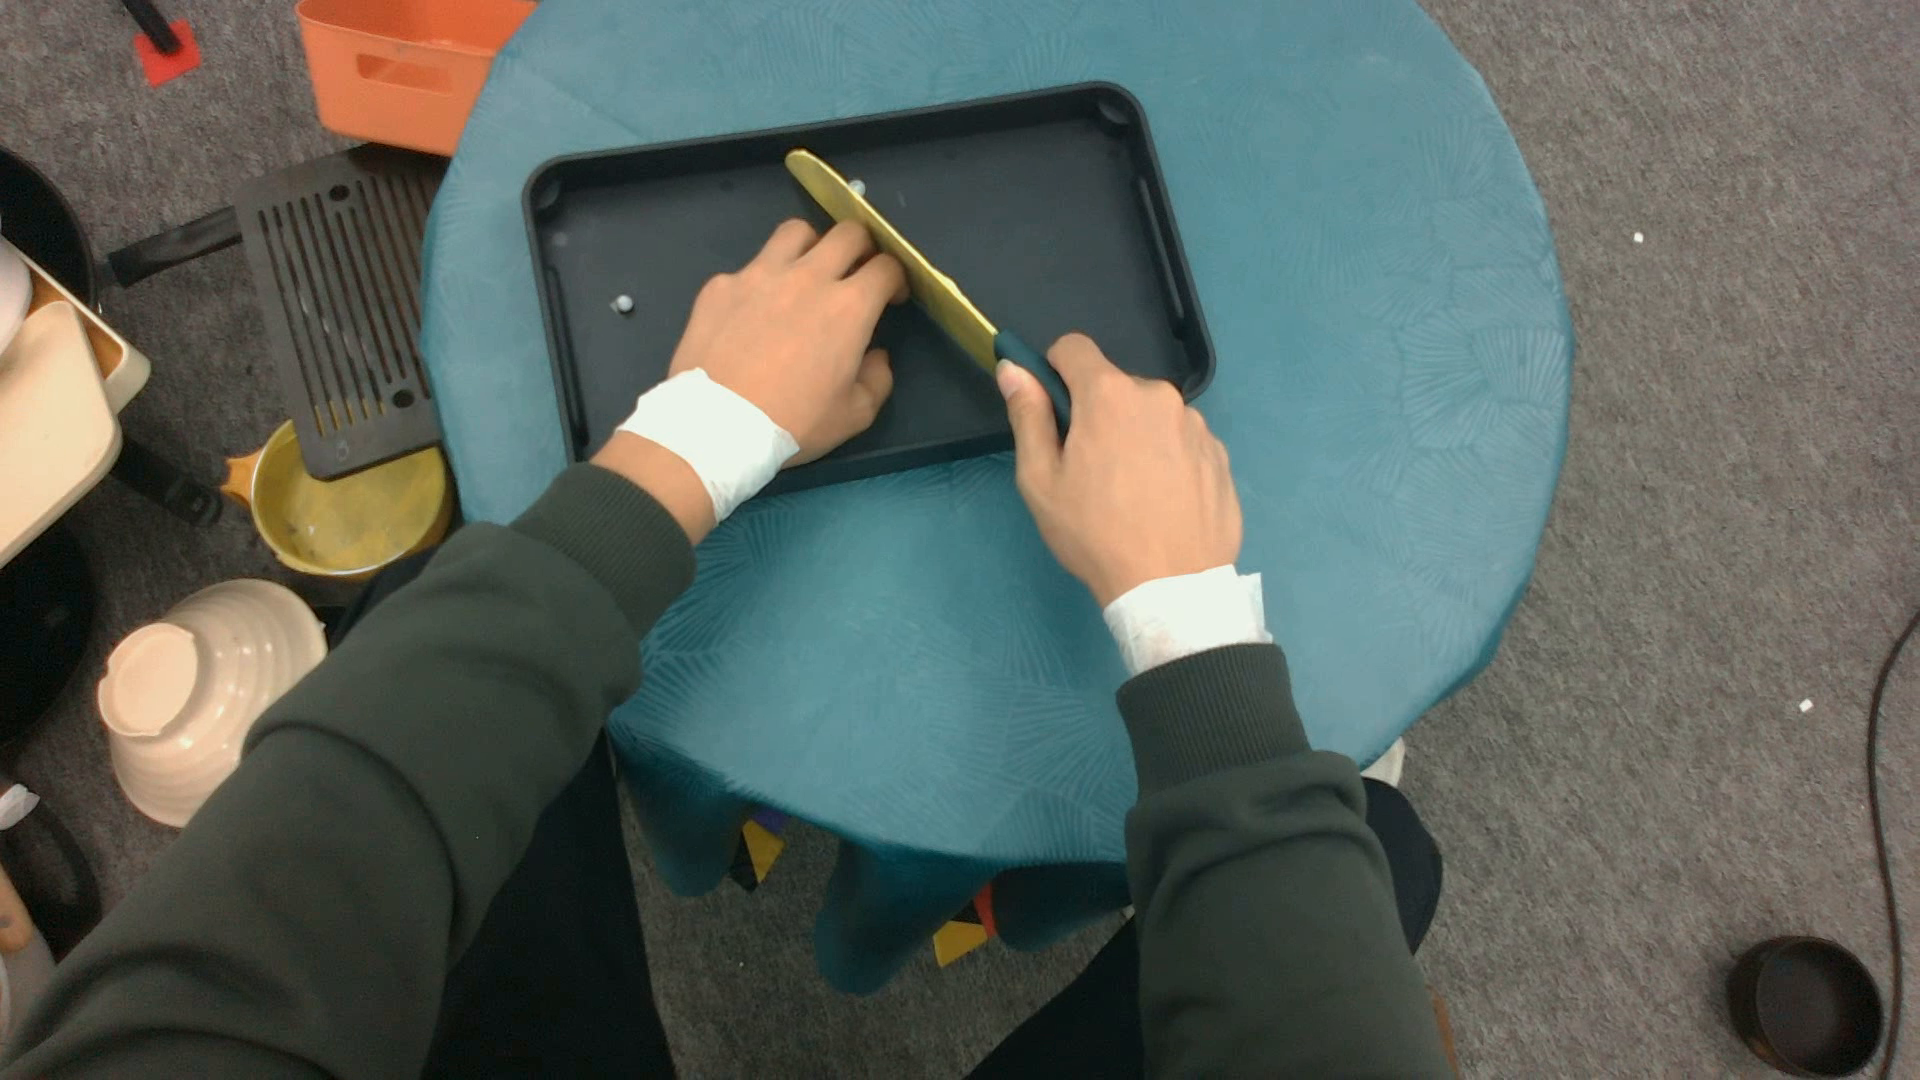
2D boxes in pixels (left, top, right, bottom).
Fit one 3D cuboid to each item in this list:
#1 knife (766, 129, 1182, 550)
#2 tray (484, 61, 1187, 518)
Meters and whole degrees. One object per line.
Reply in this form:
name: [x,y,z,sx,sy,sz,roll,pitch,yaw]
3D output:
knife: [0.000,-0.101,0.661,0.027,0.081,0.289,-42,78,-4]
tray: [-0.059,-0.129,0.688,0.318,0.037,0.184,-13,76,-11]
